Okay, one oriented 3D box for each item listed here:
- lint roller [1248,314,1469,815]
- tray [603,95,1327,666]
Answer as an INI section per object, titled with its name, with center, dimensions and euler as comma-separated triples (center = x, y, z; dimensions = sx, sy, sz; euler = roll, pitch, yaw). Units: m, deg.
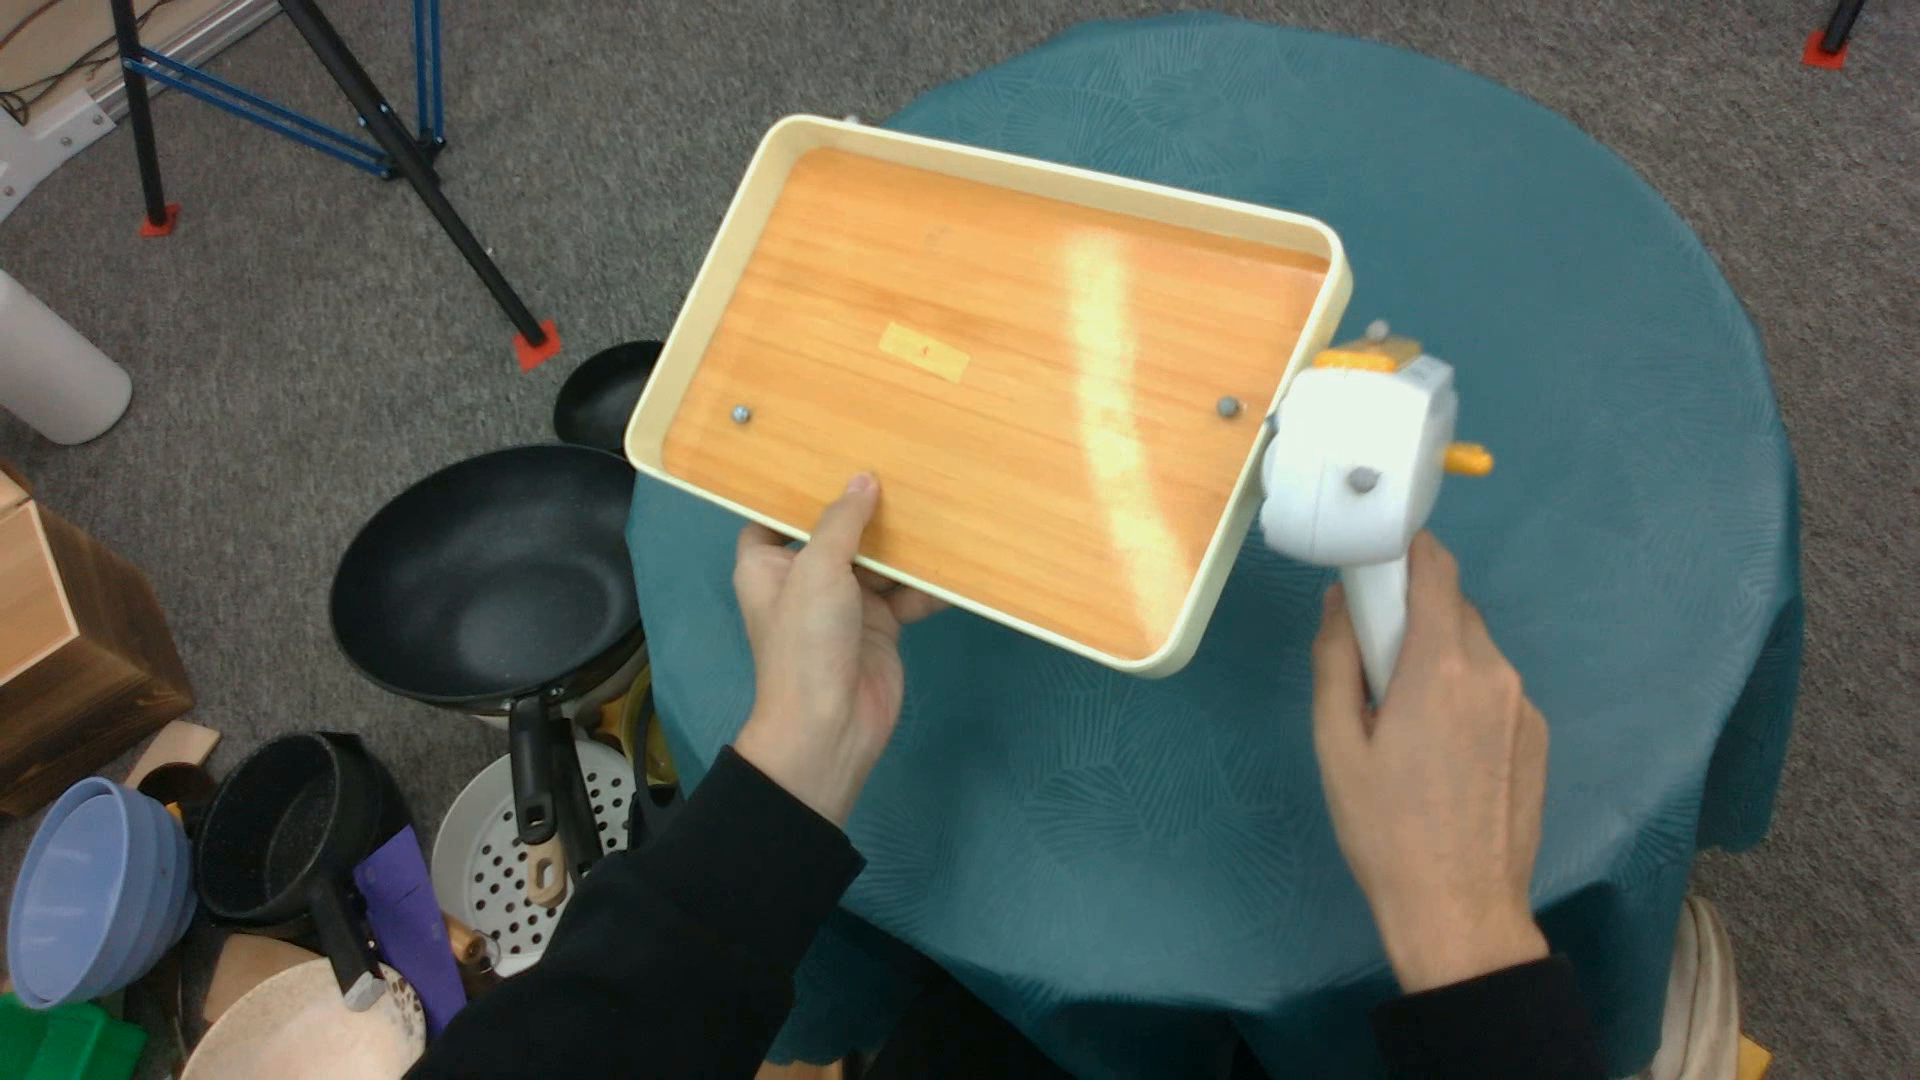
[lint roller]
center = 0.156, 0.014, 0.534
dimensions = 0.074, 0.193, 0.192
euler = 1, 104, 16
[tray]
center = -0.012, -0.082, 0.598
dimensions = 0.300, 0.027, 0.192
euler = 22, 85, 30
